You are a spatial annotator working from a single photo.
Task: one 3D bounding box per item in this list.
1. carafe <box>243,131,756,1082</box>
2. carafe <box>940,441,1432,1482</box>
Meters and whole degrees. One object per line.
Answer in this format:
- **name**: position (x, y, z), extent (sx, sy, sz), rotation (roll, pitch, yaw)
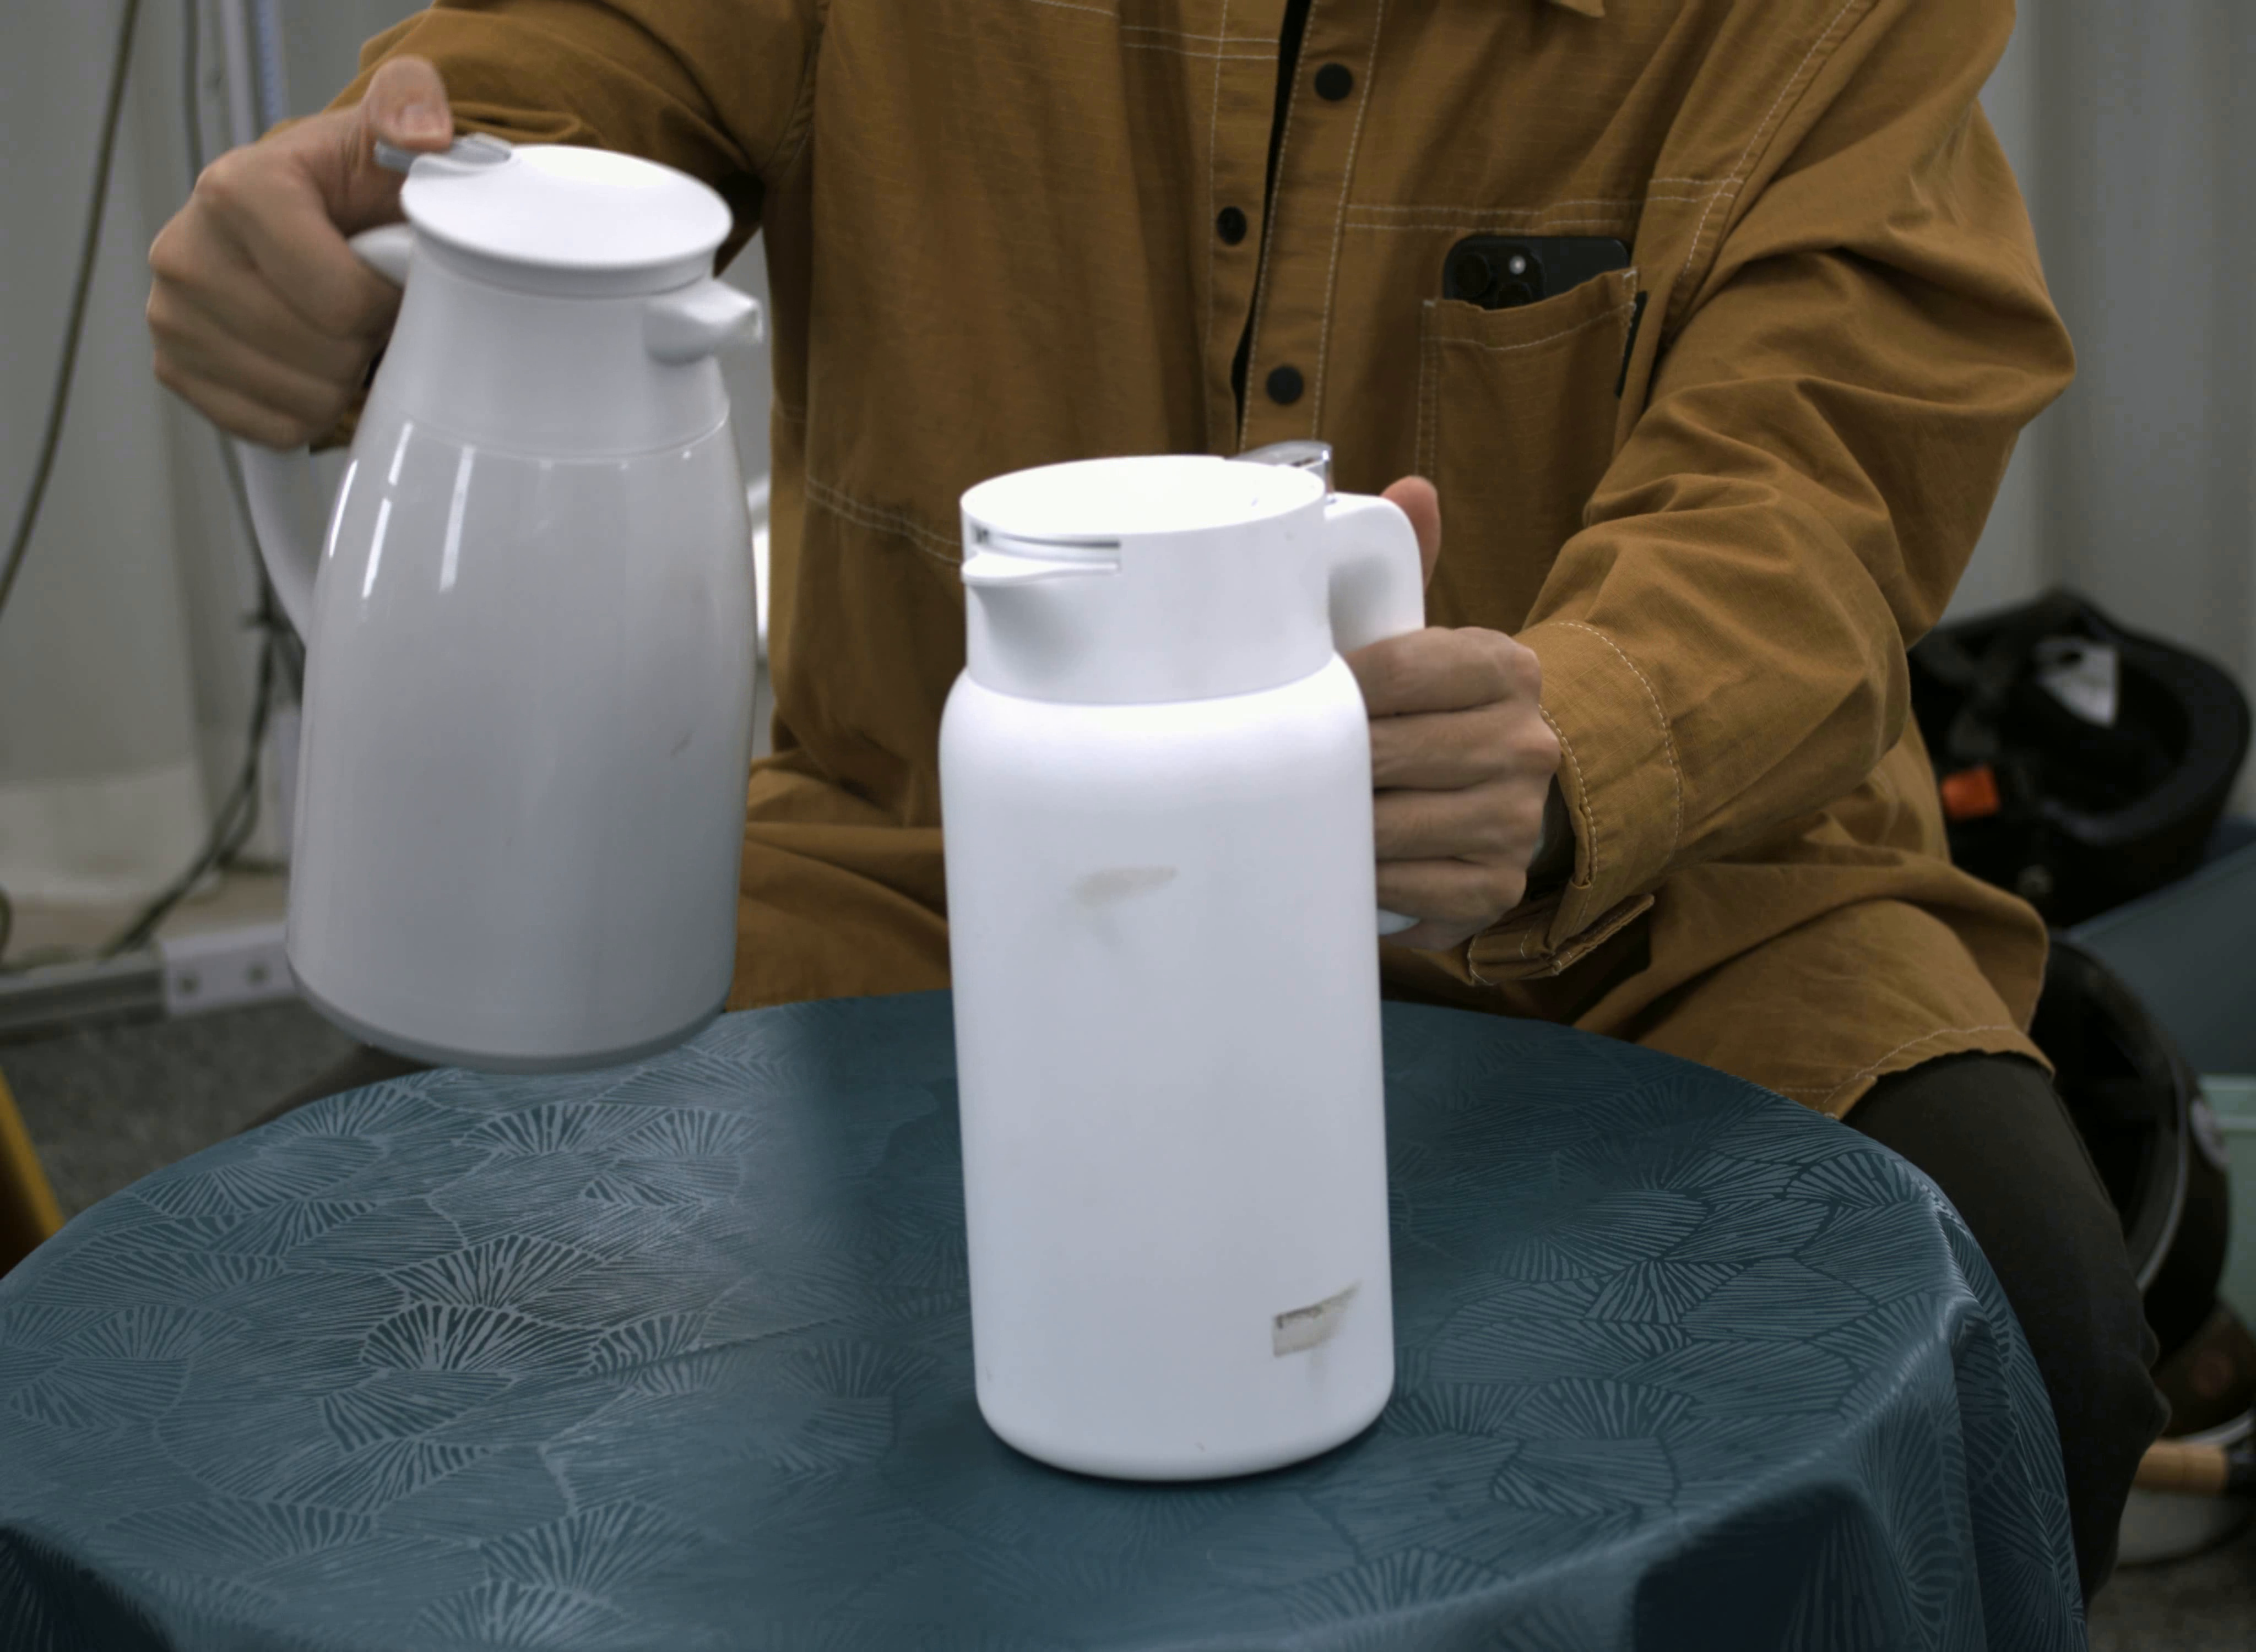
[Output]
- **carafe**: position (-0.186, -0.072, 1.571), extent (0.168, 0.247, 0.133), rotation (19, 26, 27)
- **carafe**: position (0.020, 0.032, 1.505), extent (0.124, 0.268, 0.172), rotation (6, 16, 40)
